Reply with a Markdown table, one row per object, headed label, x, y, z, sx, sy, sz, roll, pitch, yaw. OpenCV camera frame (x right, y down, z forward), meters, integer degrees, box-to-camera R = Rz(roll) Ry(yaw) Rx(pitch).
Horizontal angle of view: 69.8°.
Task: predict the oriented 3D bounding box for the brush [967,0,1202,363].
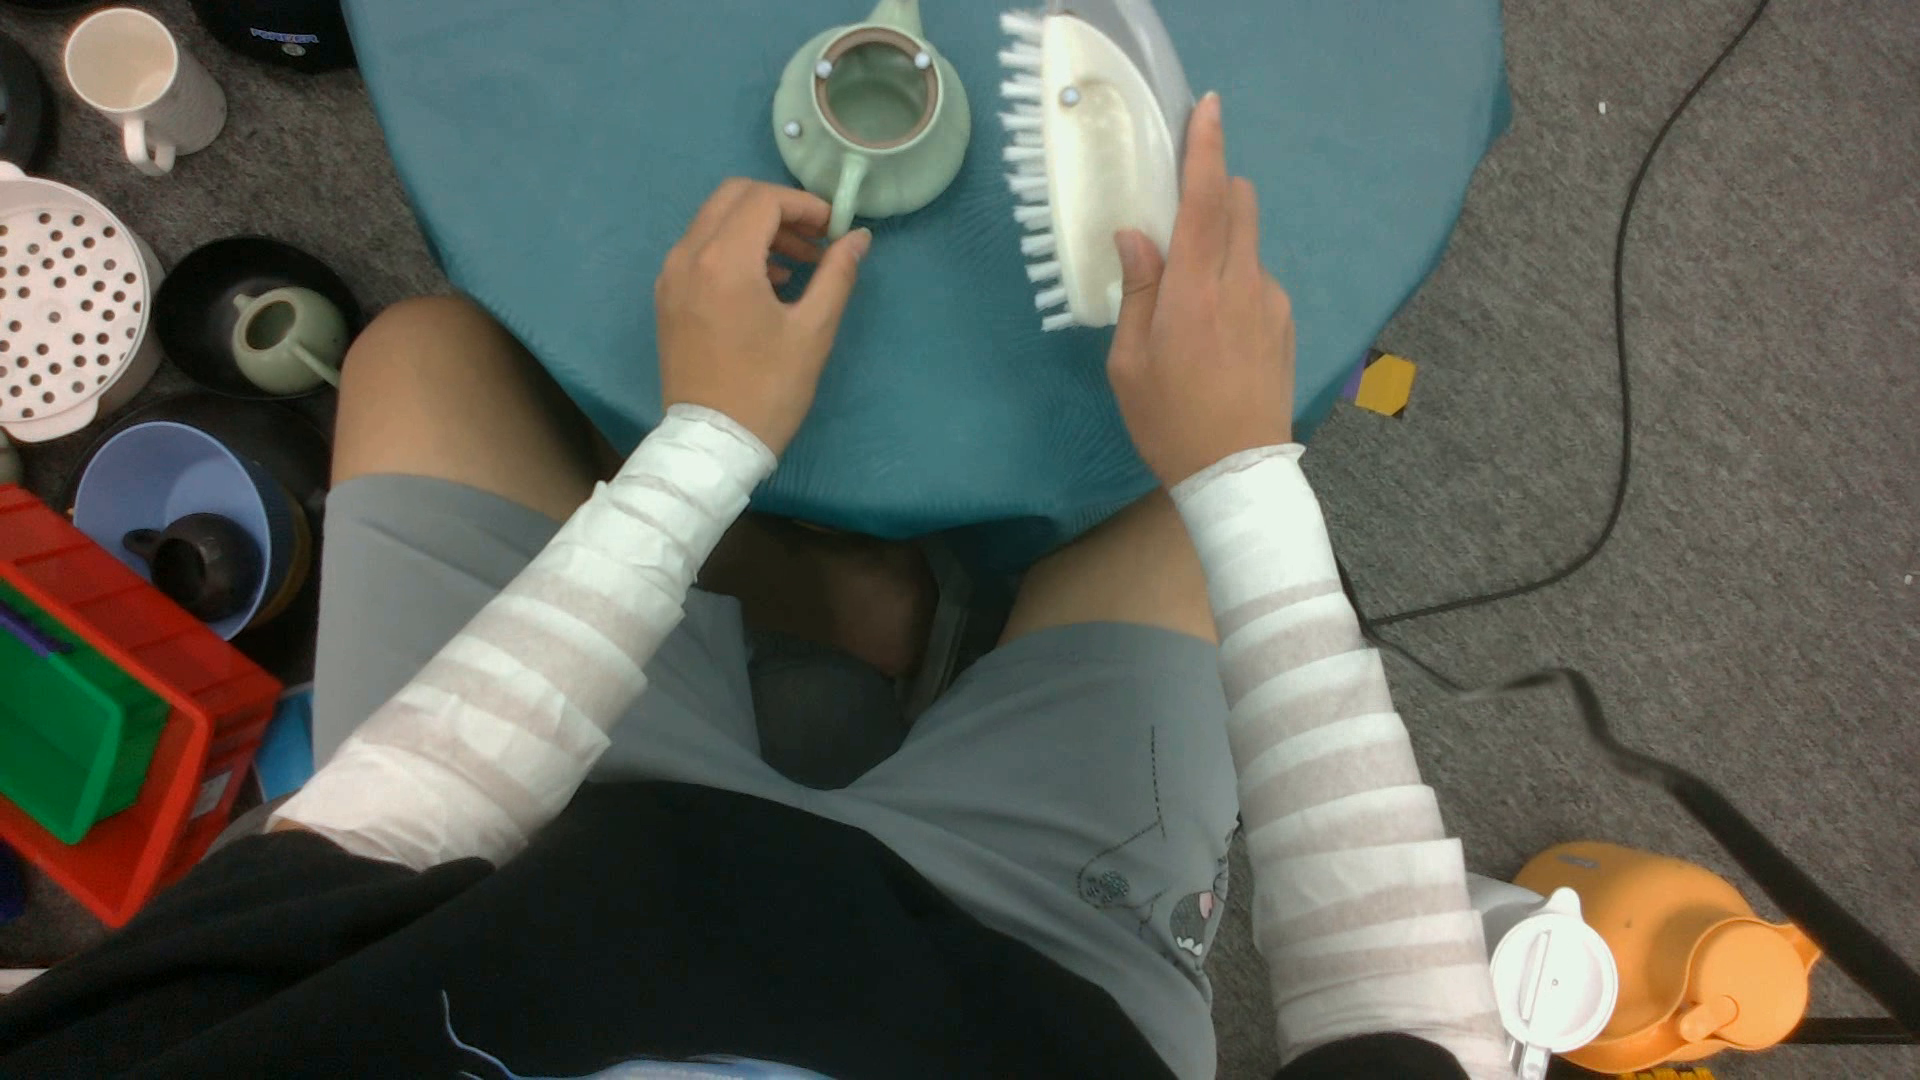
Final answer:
| label | x | y | z | sx | sy | sz | roll | pitch | yaw |
| --- | --- | --- | --- | --- | --- | --- | --- | --- | --- |
| brush | 0.059 | -0.169 | 0.626 | 0.062 | 0.094 | 0.175 | -33 | 114 | -38 |

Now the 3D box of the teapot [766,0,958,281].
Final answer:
| label | x | y | z | sx | sy | sz | roll | pitch | yaw |
| --- | --- | --- | --- | --- | --- | --- | --- | --- | --- |
| teapot | -0.048 | -0.192 | 0.683 | 0.096 | 0.061 | 0.137 | 11 | 82 | -7 |
